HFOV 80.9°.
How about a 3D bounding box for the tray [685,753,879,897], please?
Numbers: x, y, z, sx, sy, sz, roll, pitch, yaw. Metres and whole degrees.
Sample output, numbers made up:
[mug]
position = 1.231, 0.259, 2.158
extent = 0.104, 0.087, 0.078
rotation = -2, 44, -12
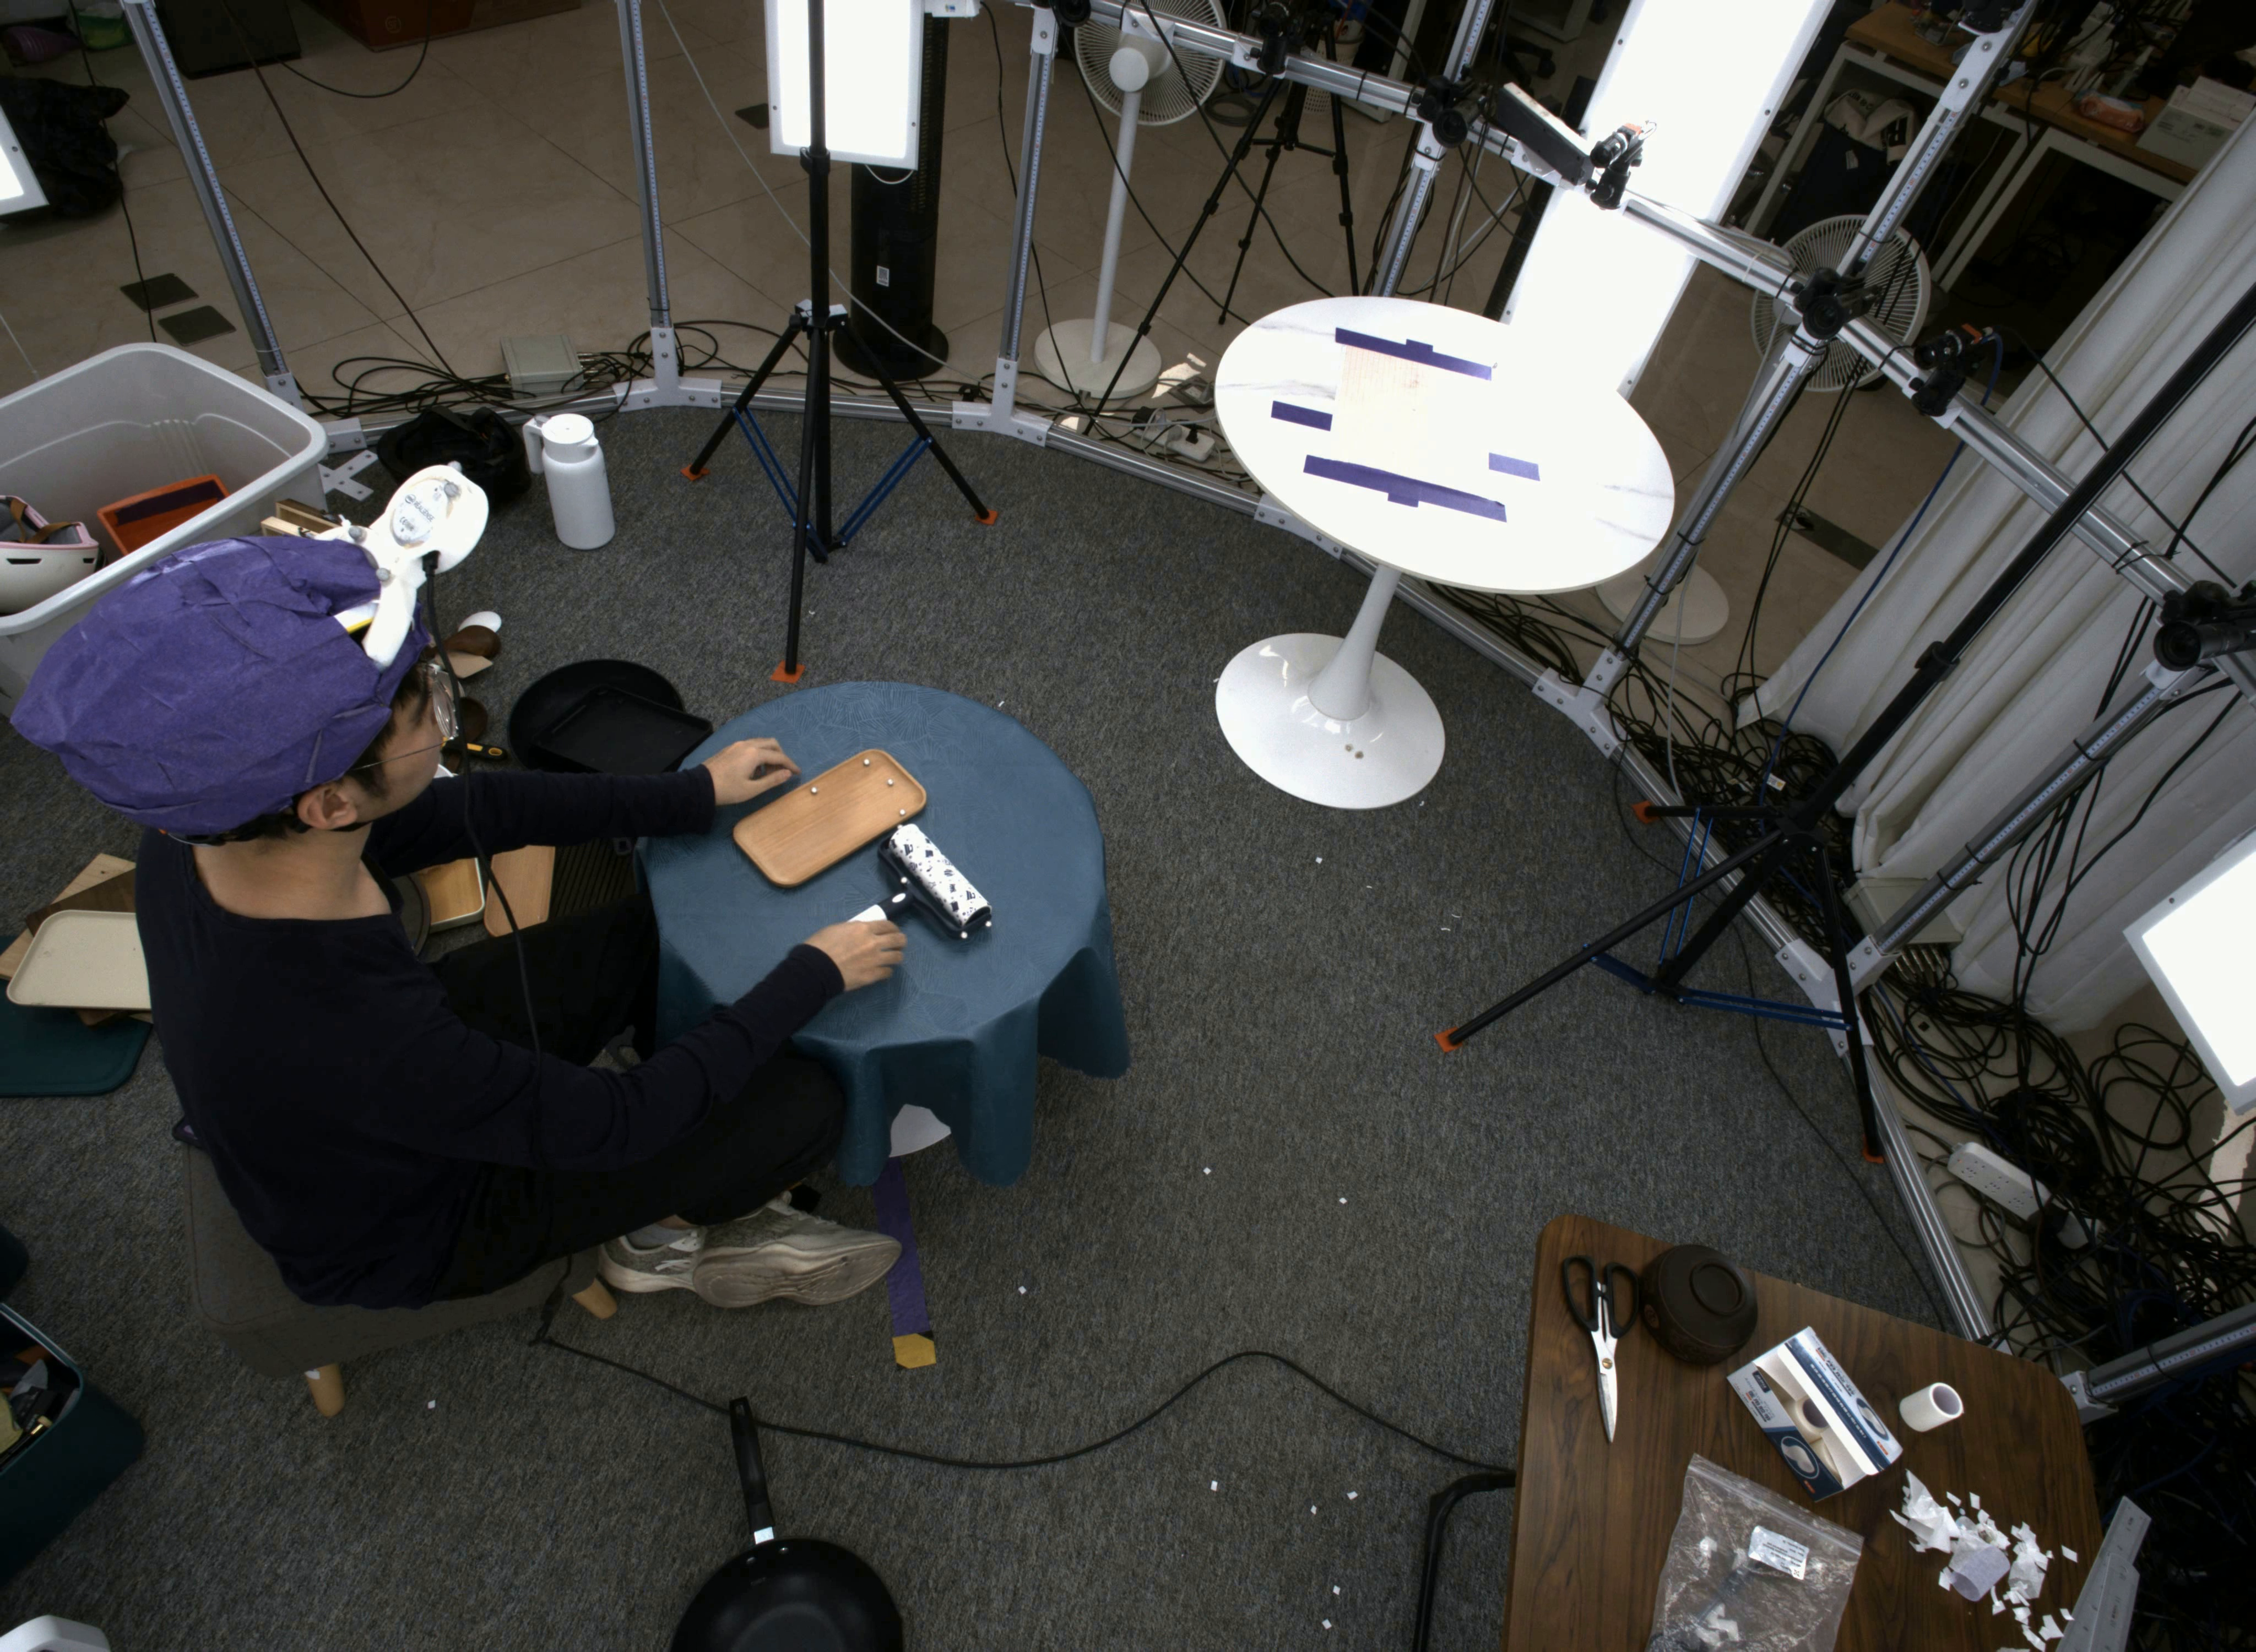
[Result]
[tray]
position = -0.457, -0.005, 1.720
extent = 0.127, 0.023, 0.251
rotation = 40, 56, 20

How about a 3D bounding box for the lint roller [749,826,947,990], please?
[lint roller]
position = -0.371, 0.120, 1.634
extent = 0.172, 0.051, 0.247
rotation = 42, 59, 17
